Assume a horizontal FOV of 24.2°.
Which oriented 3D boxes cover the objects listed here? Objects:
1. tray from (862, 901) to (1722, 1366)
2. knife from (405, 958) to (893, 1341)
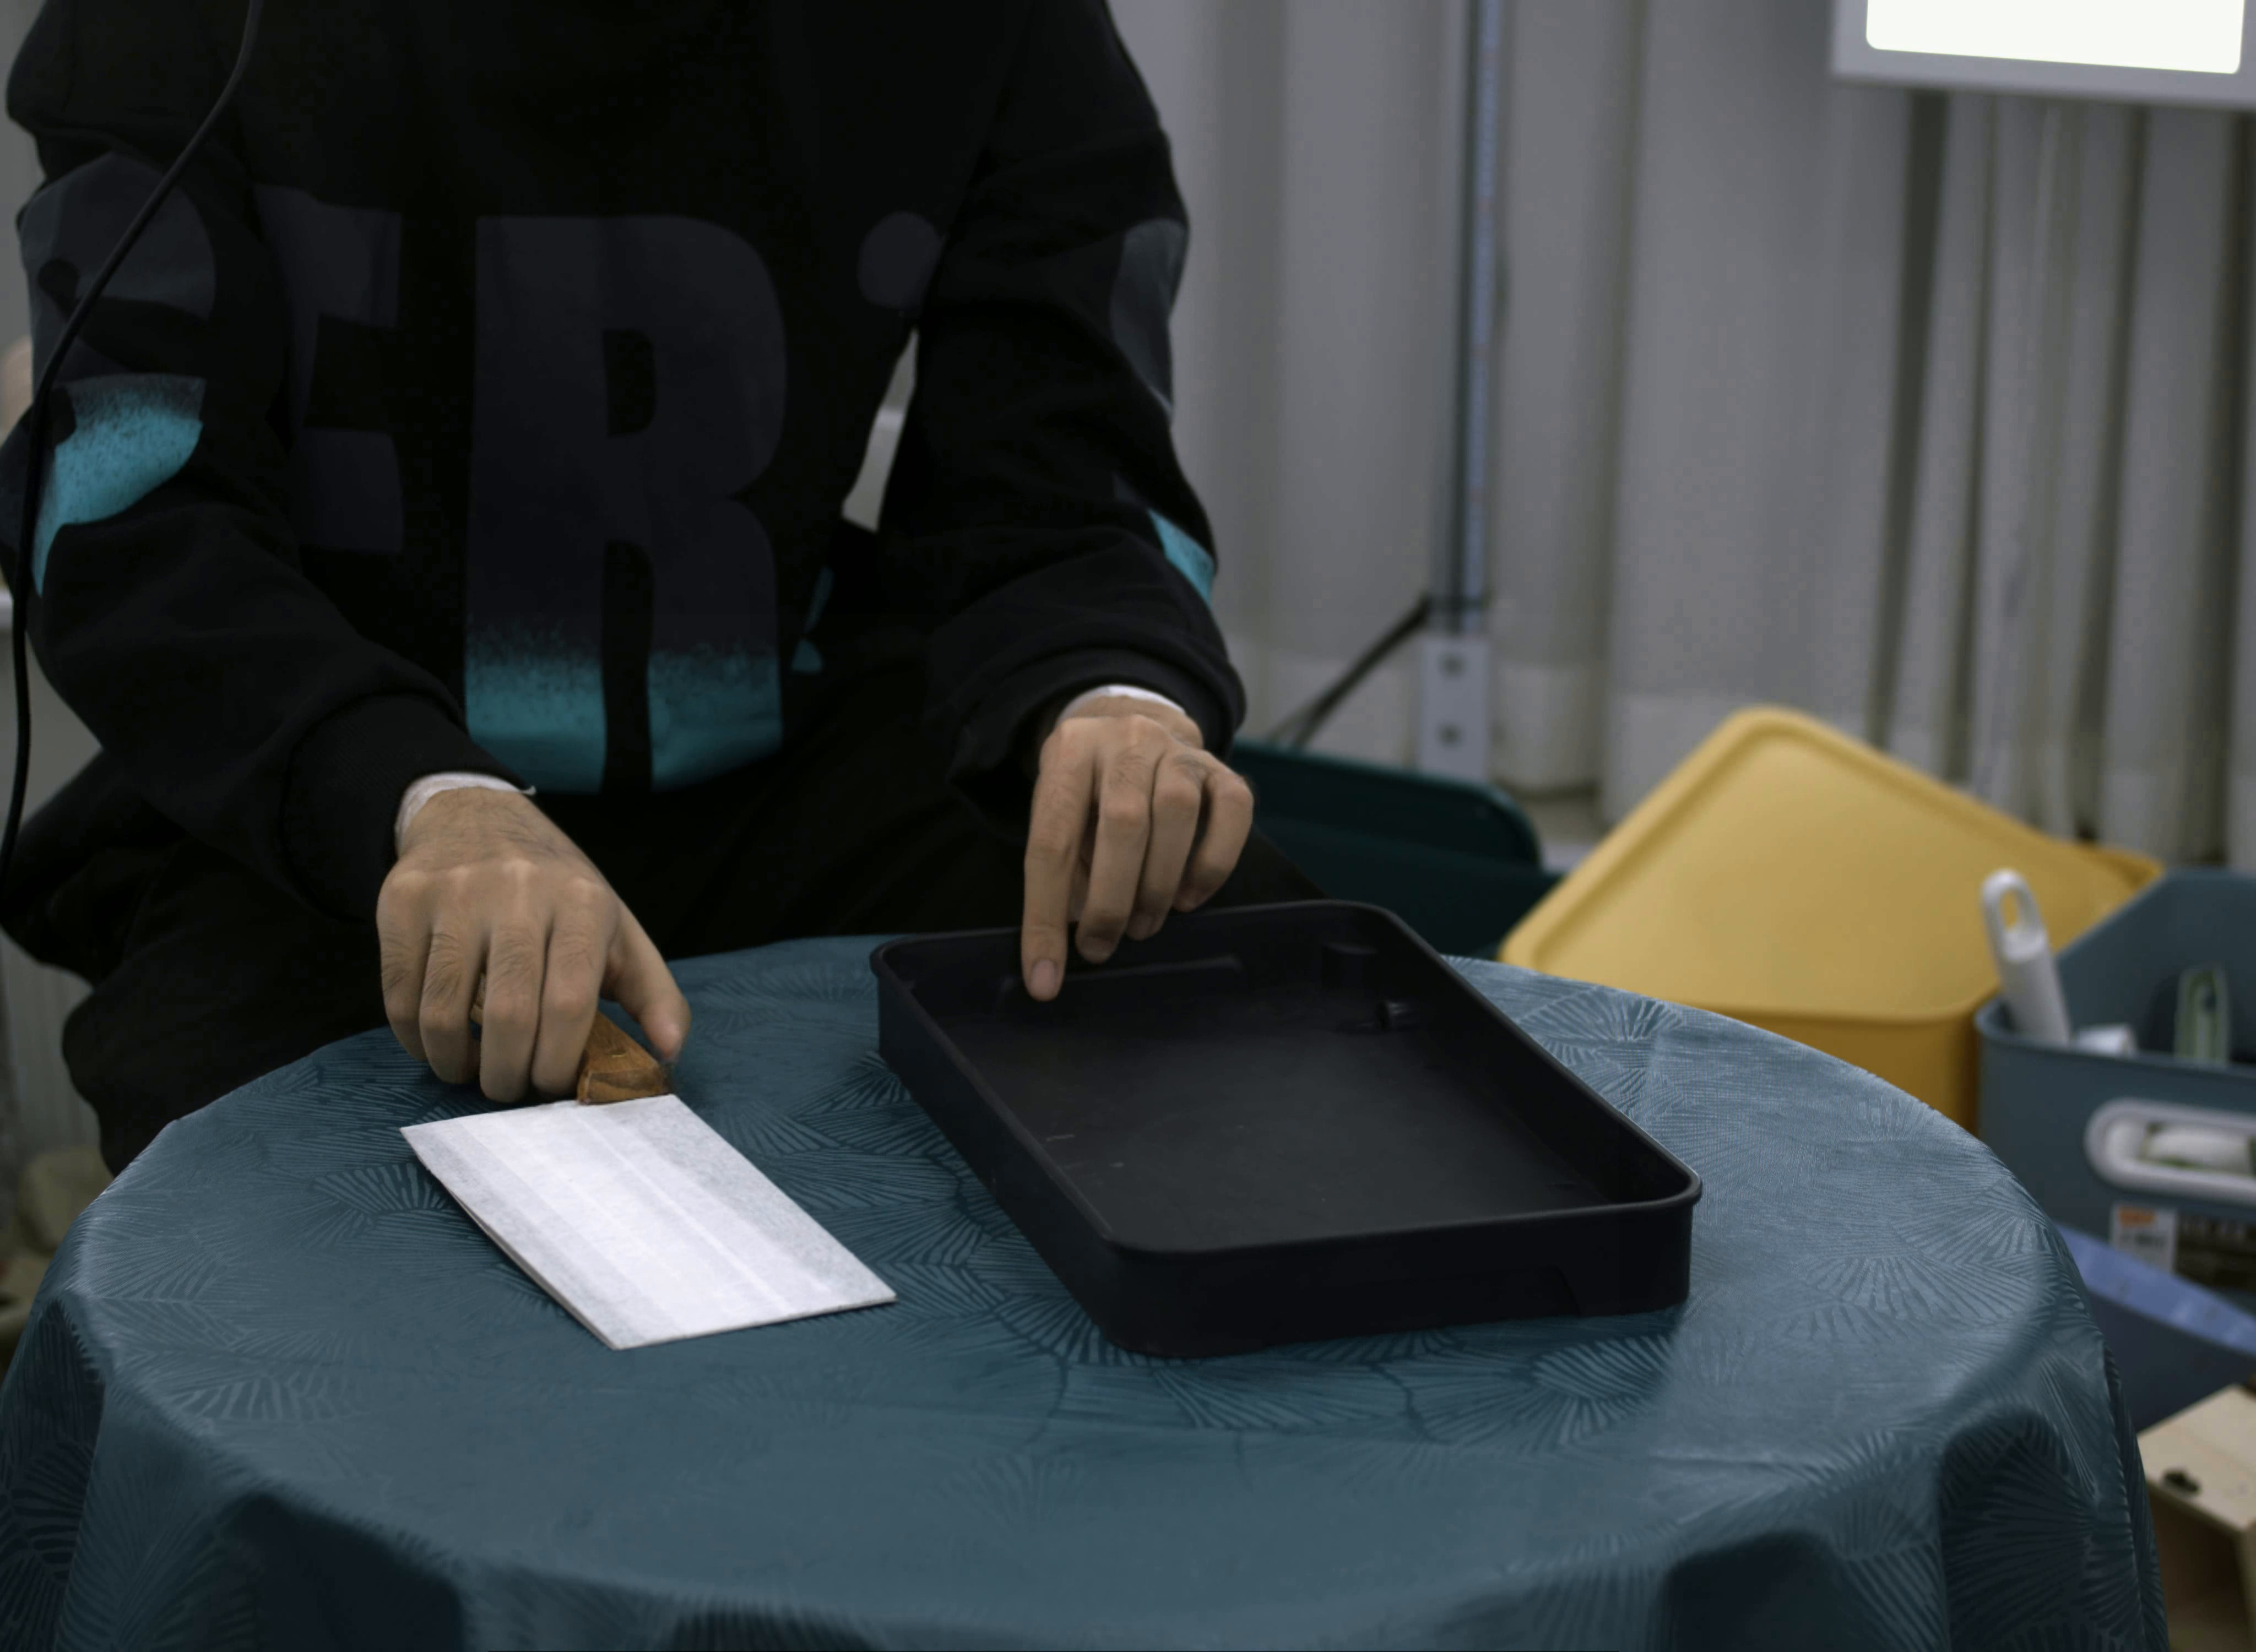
[{"bbox_3d":[0.043,0.089,1.637,0.184,0.037,0.314,-5,17,-18],"label":"tray"},{"bbox_3d":[-0.170,0.099,1.635,0.093,0.021,0.302,-9,20,-25],"label":"knife"}]
